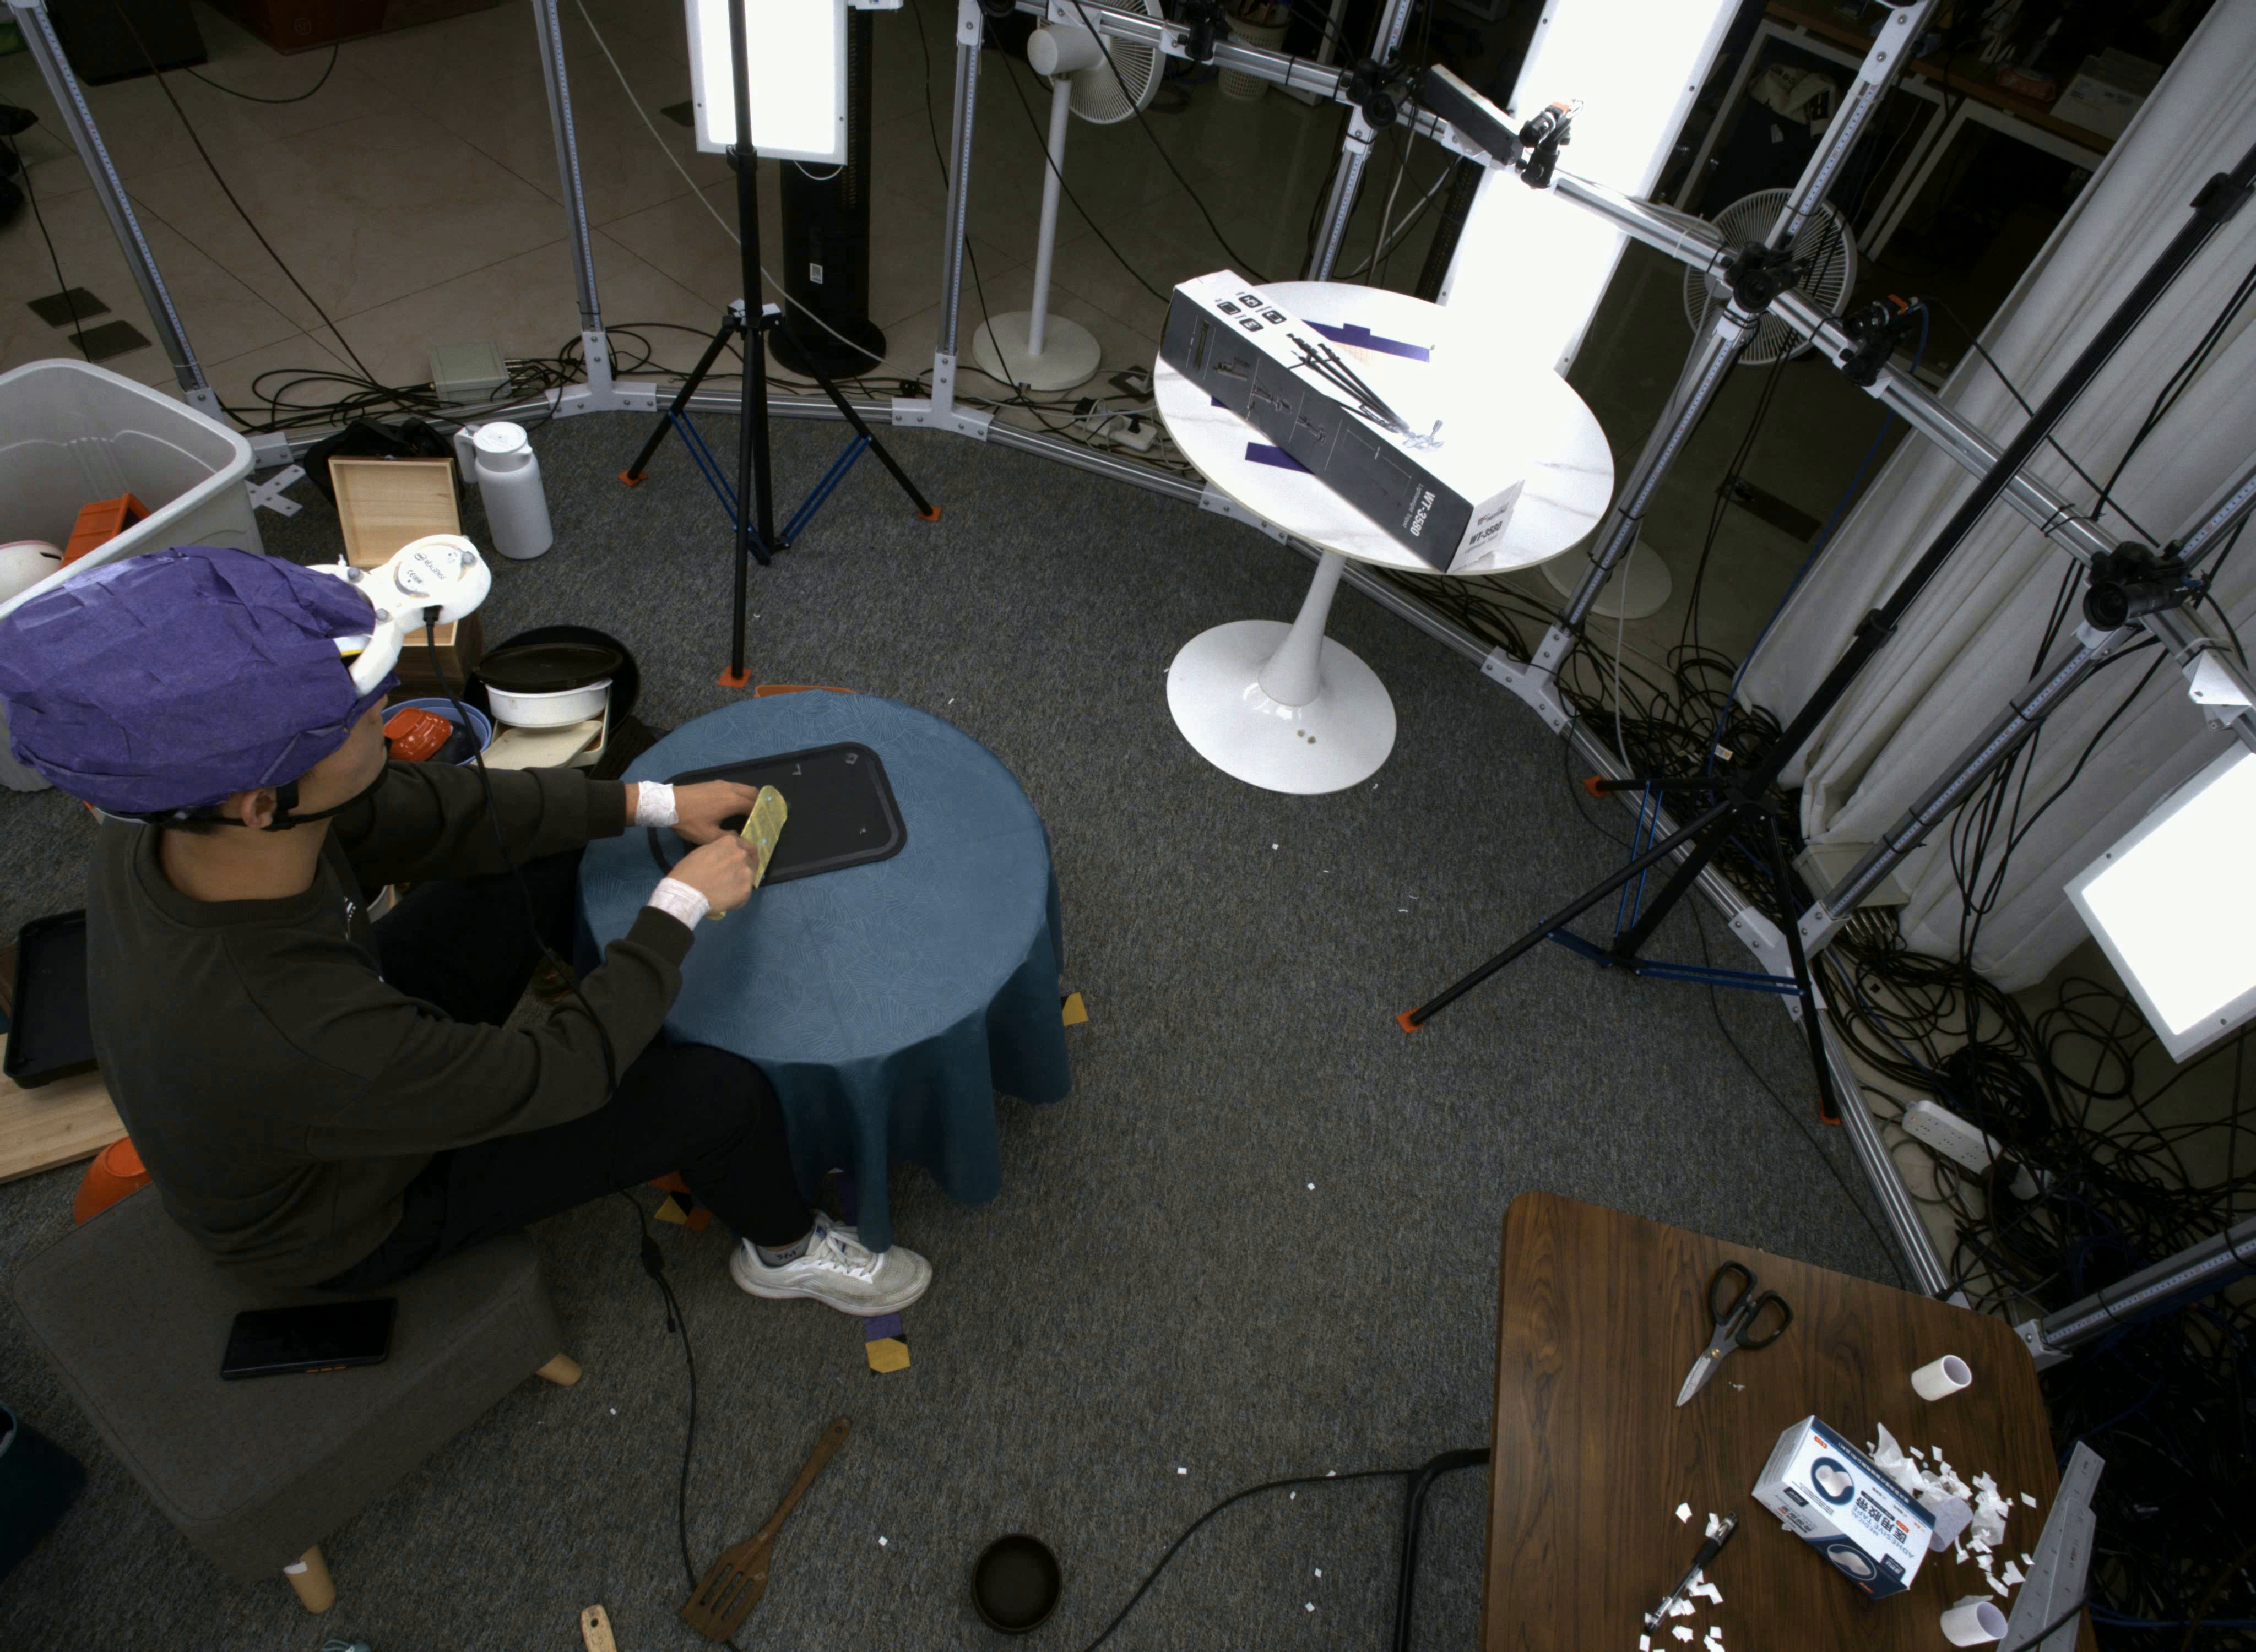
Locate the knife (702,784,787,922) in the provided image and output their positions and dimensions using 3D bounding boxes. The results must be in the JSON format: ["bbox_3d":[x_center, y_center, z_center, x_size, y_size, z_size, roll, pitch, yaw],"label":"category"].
[{"bbox_3d":[-0.469,0.035,1.610,0.027,0.084,0.284,-8,31,10],"label":"knife"}]

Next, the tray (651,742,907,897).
[{"bbox_3d":[-0.469,-0.013,1.728,0.327,0.010,0.206,-13,58,-23],"label":"tray"}]
